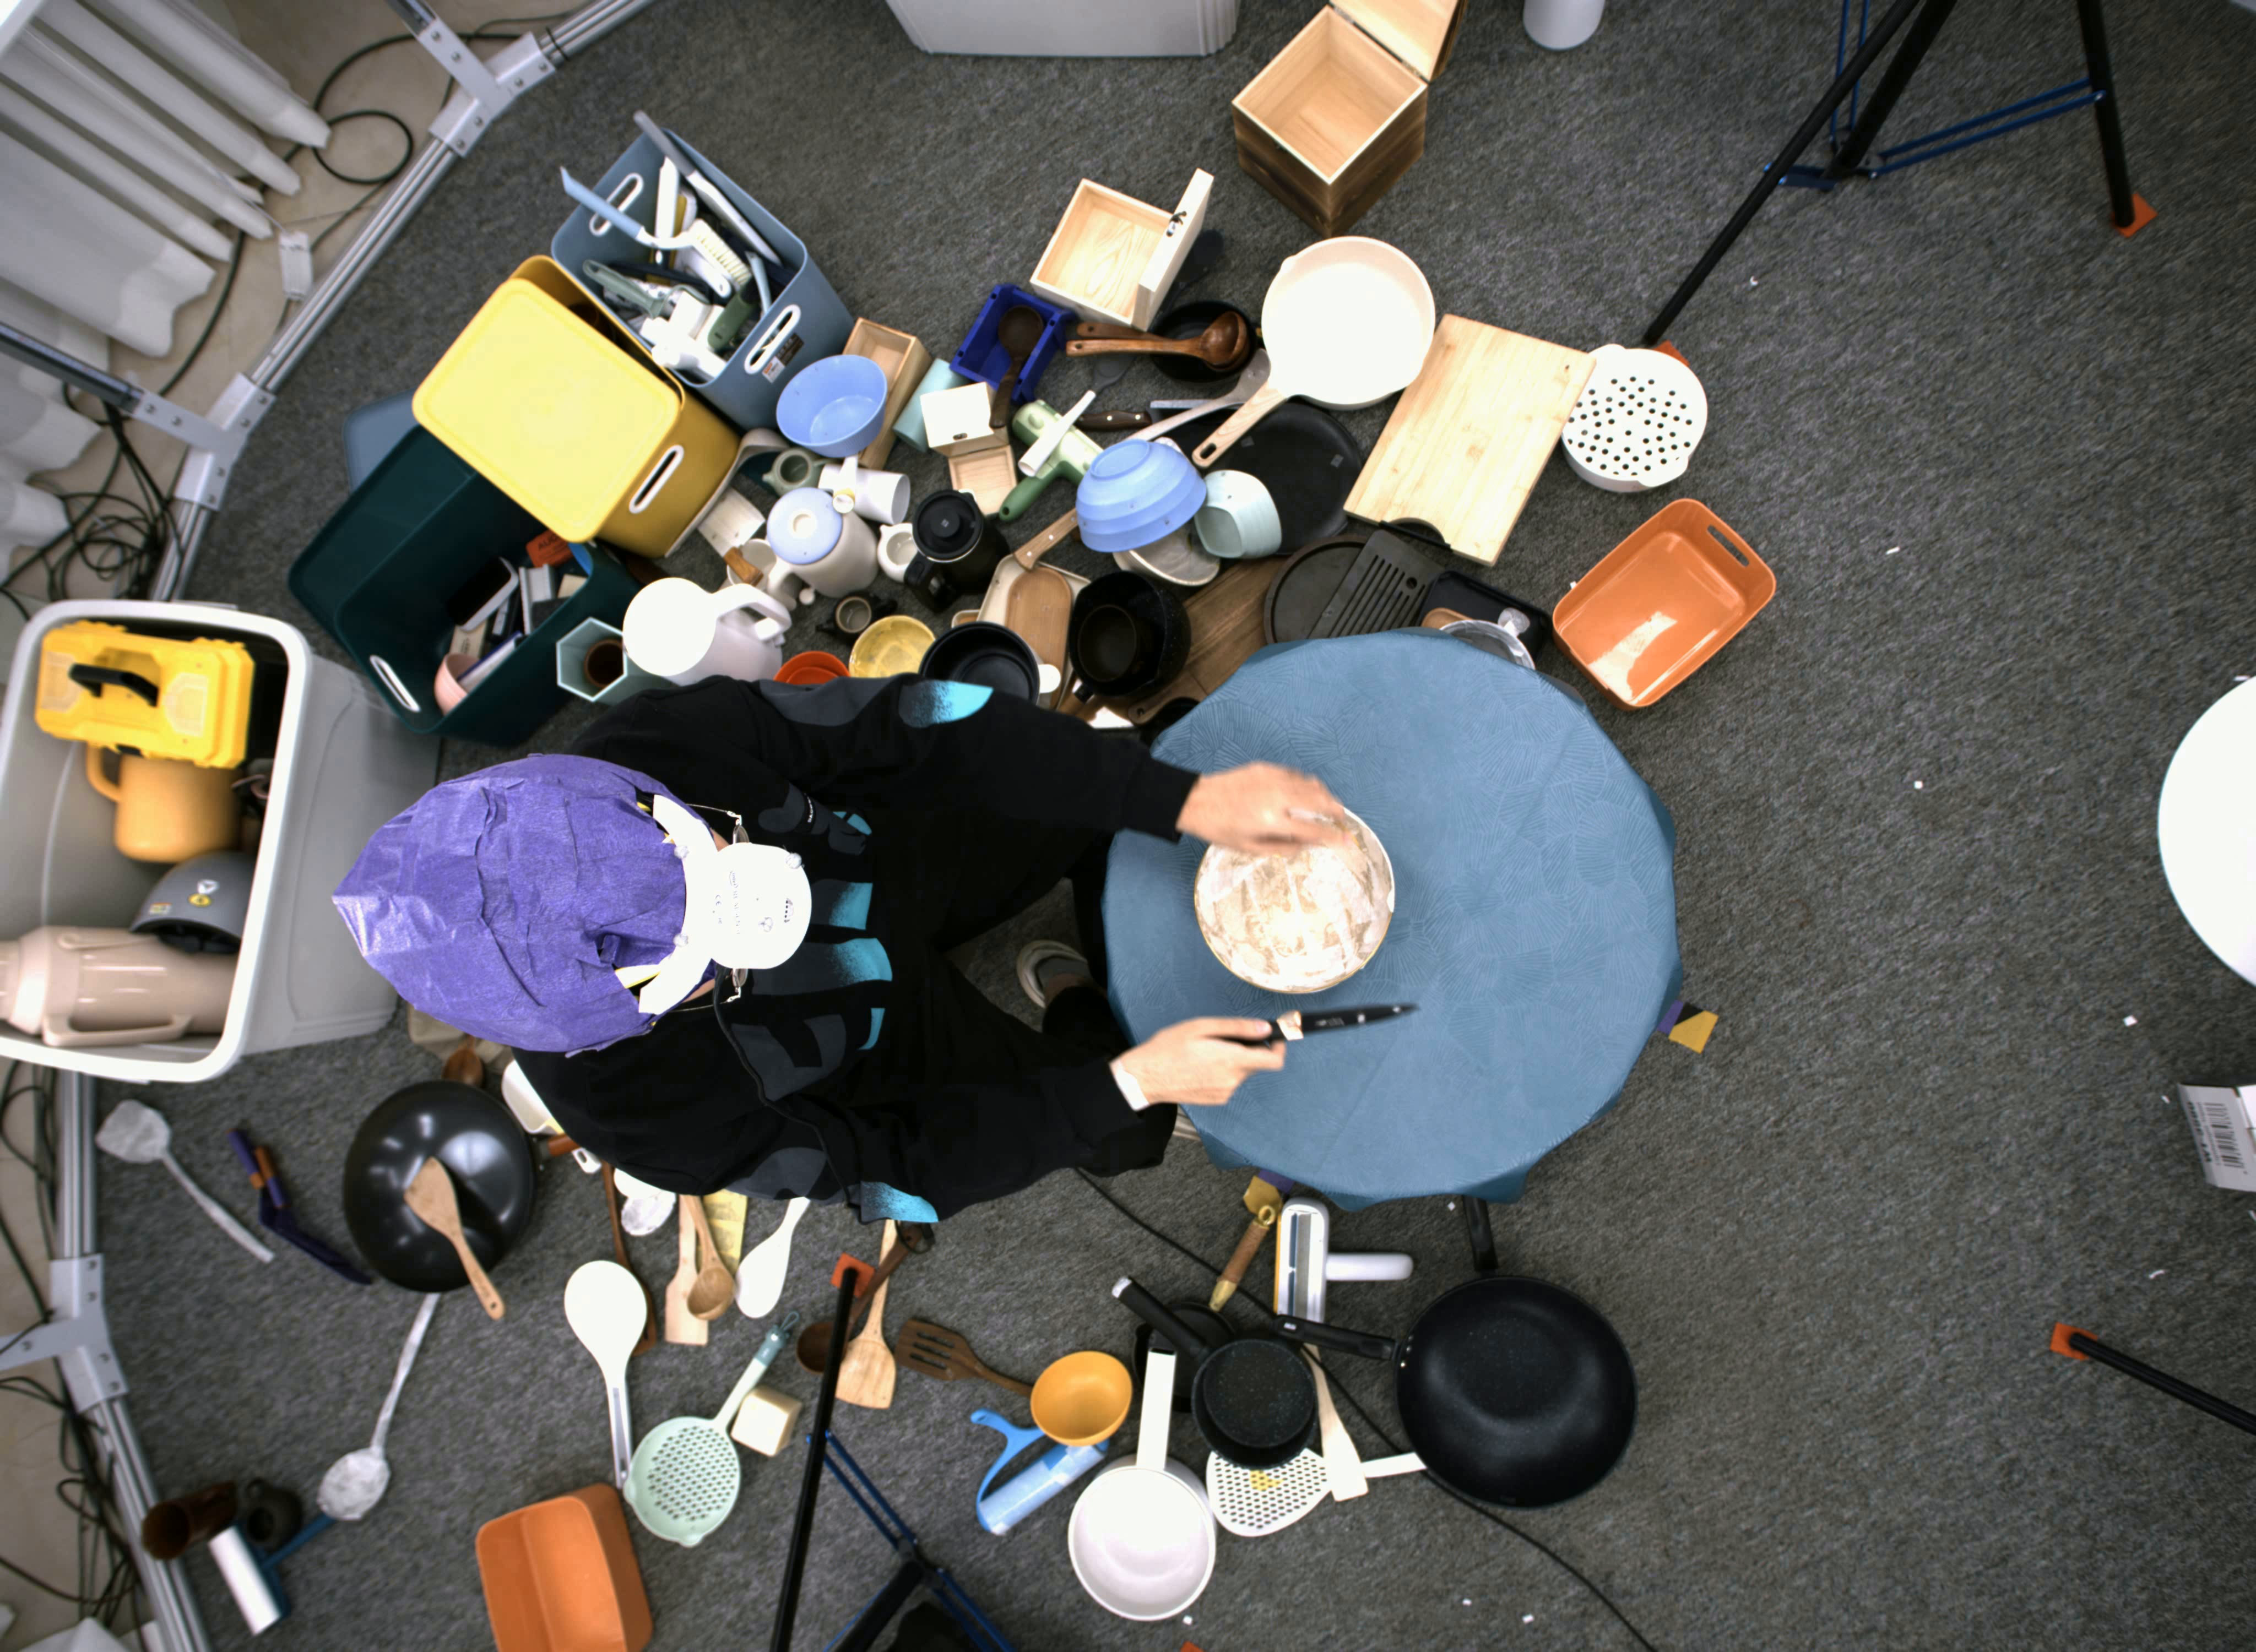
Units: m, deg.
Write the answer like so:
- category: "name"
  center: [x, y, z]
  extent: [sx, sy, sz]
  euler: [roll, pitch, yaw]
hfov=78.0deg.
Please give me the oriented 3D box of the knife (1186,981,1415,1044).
- category: "knife"
  center: [0.161, 0.176, 1.310]
  extent: [0.227, 0.017, 0.025]
  euler: [-14, 61, 17]

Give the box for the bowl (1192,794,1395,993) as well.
- category: "bowl"
  center: [0.169, 0.071, 1.431]
  extent: [0.215, 0.094, 0.214]
  euler: [-1, 88, 9]
